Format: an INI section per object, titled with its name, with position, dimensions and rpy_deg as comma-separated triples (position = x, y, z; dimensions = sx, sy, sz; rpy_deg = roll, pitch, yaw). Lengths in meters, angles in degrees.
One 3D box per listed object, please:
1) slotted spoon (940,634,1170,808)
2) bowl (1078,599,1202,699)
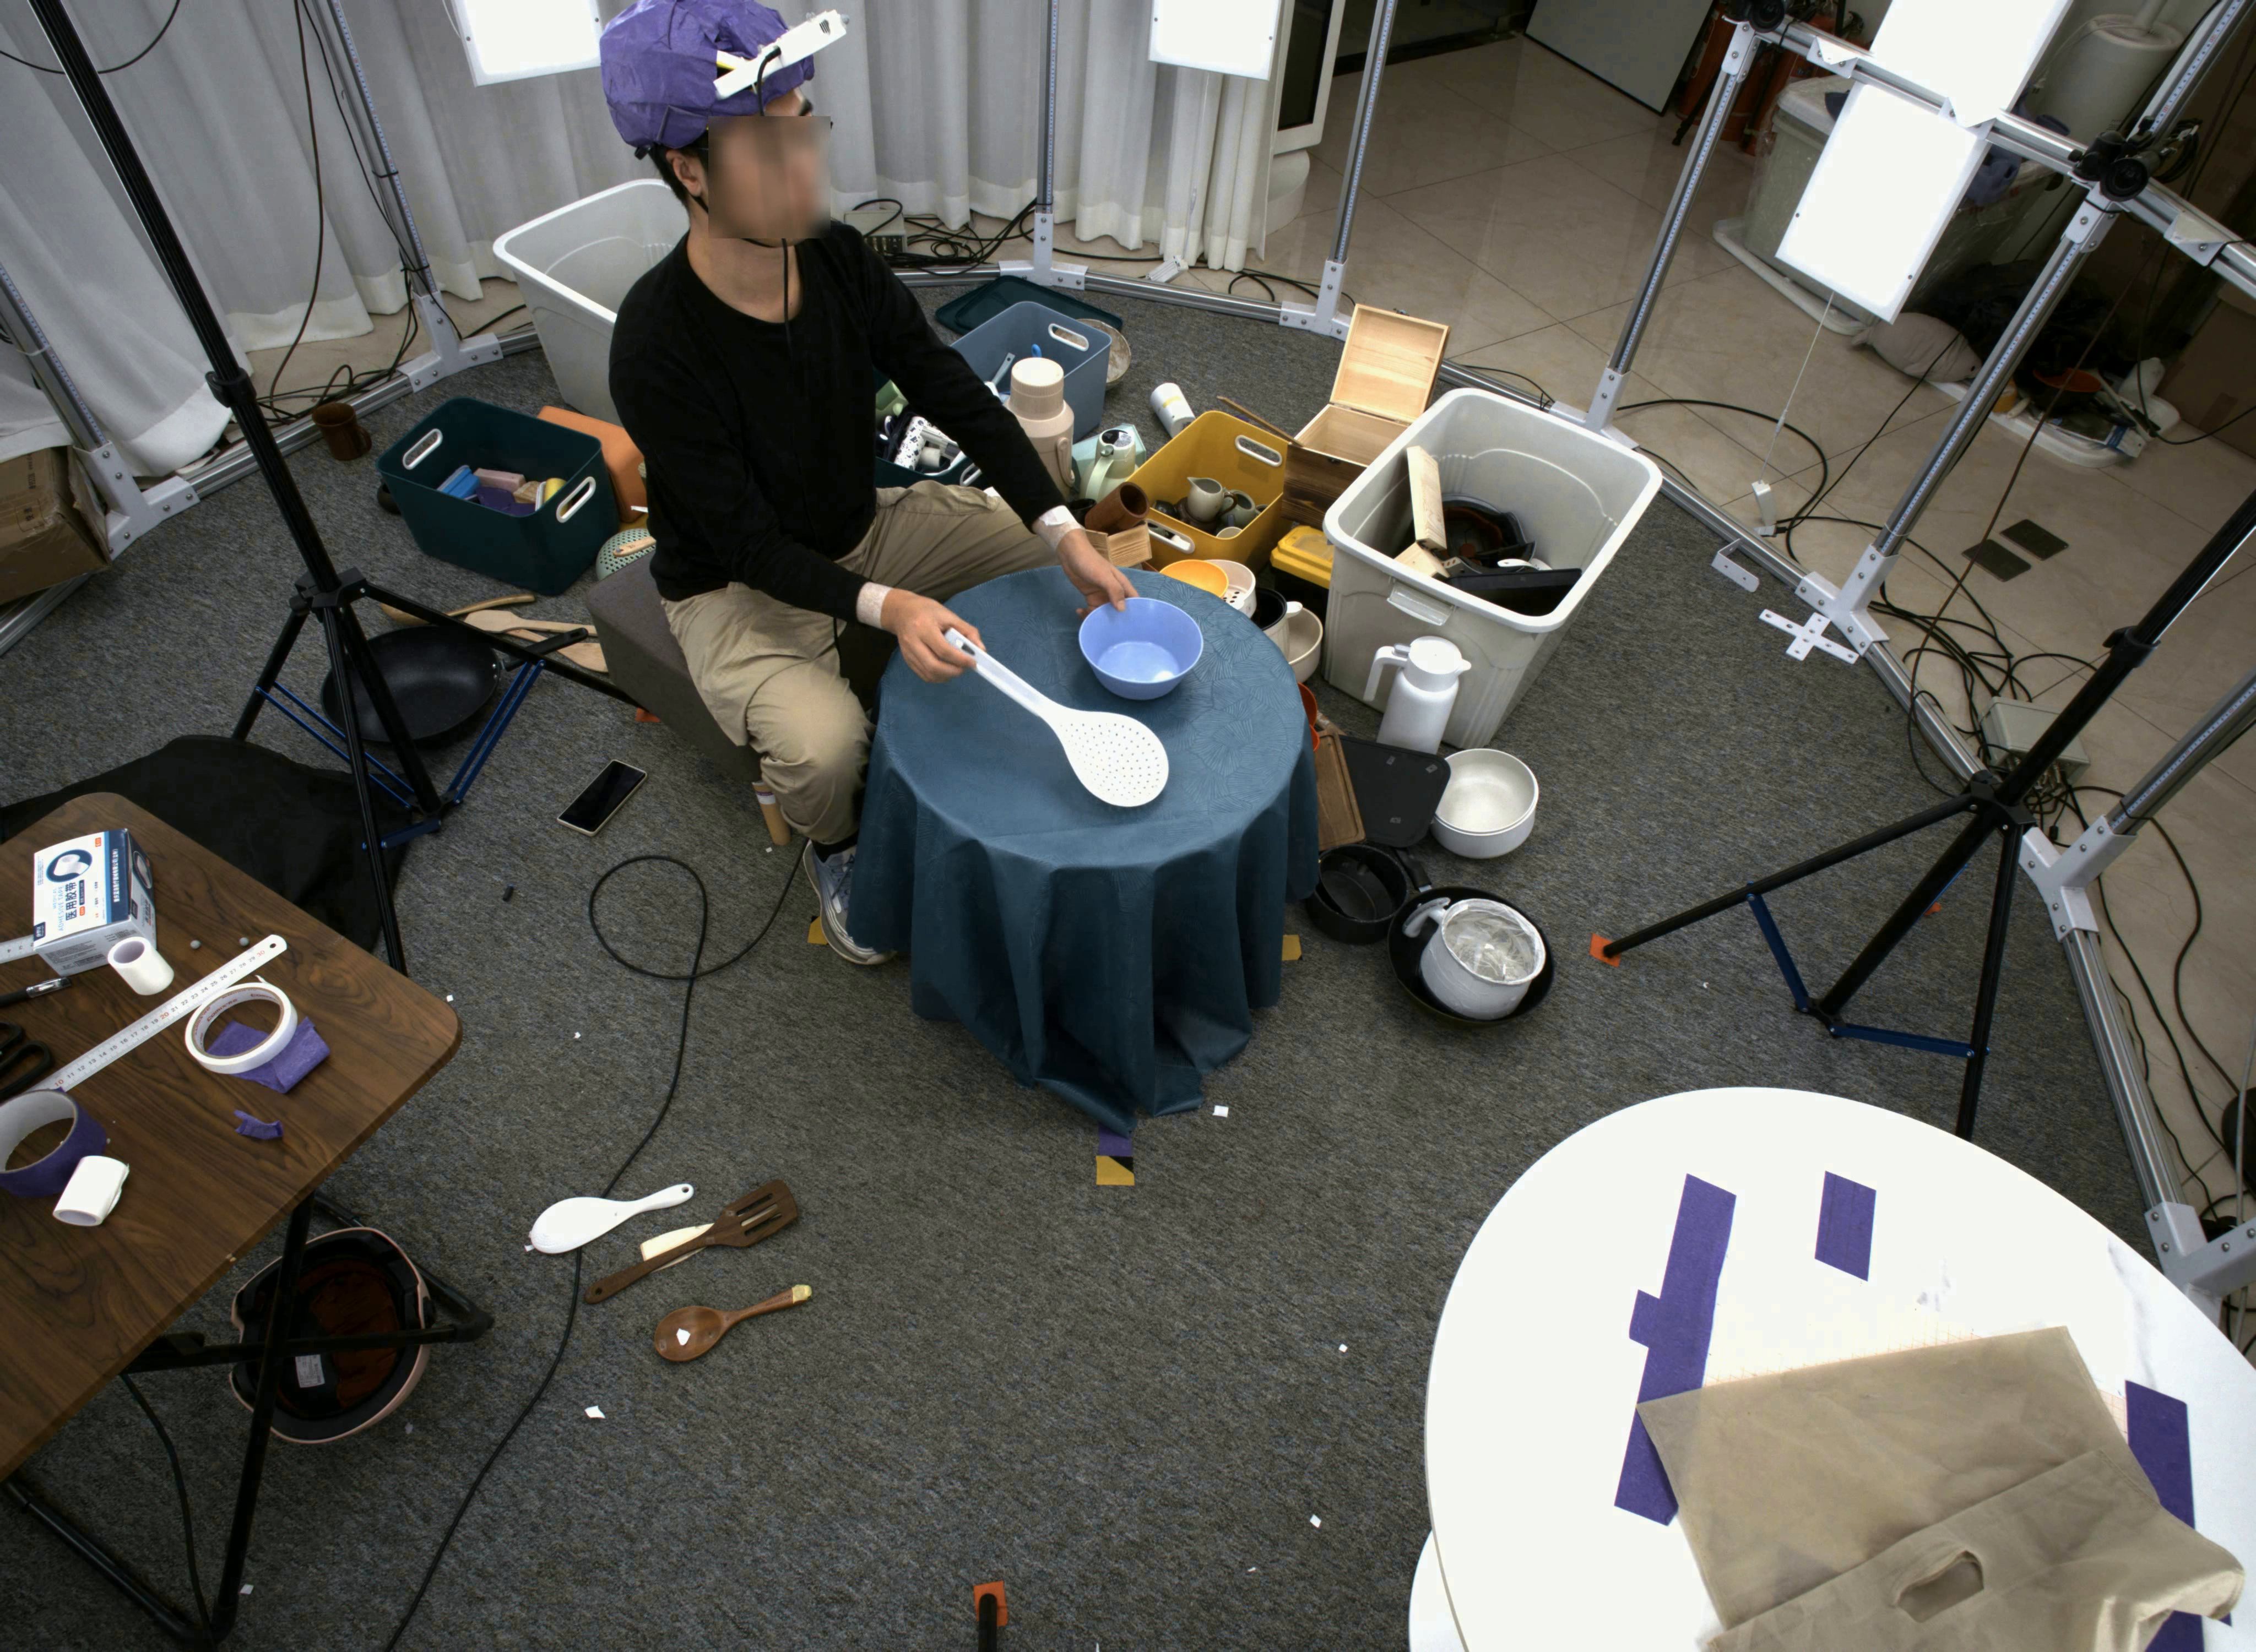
[slotted spoon]
position = -0.100, -0.144, 1.696
dimensions = 0.349, 0.045, 0.138
rpy_deg = 37, 58, -3
[bowl]
position = 0.016, -0.245, 1.838
dimensions = 0.176, 0.068, 0.180
rpy_deg = 1, 48, -2
